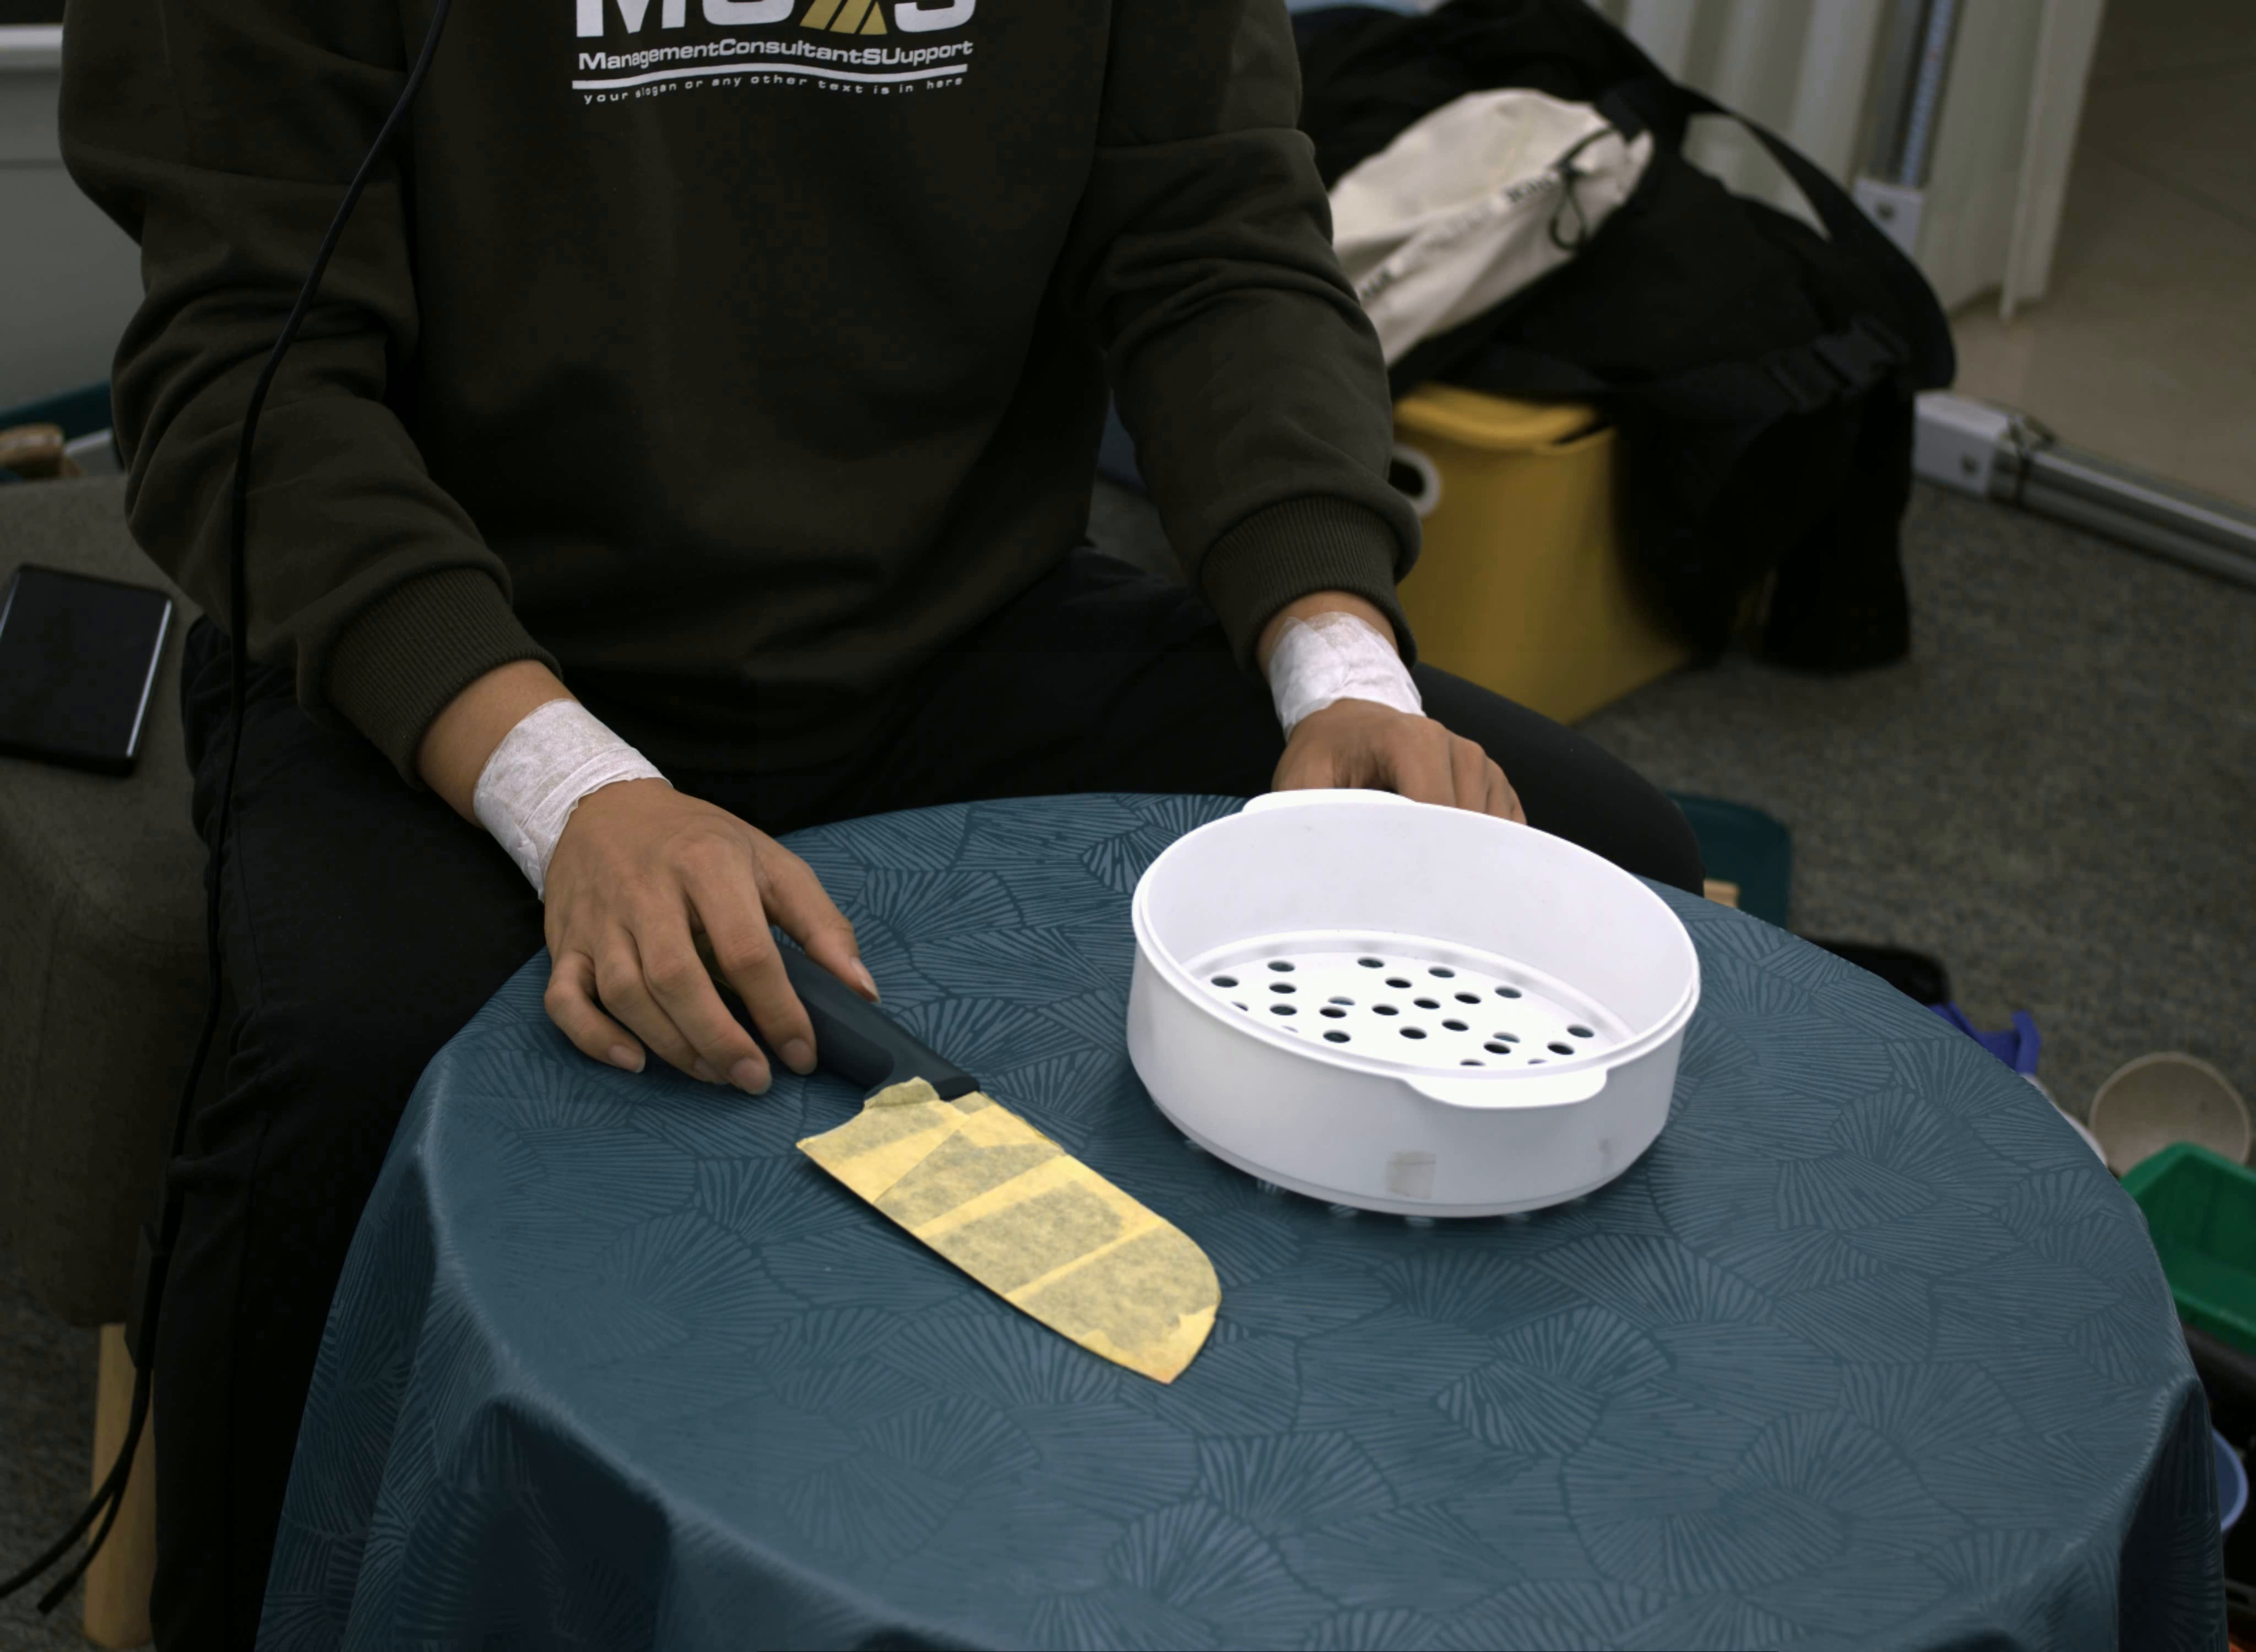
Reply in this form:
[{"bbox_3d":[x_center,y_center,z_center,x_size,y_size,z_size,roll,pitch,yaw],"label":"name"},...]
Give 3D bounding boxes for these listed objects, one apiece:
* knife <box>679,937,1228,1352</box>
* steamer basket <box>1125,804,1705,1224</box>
[{"bbox_3d":[-0.069,0.108,1.805,0.080,0.027,0.292,-19,36,-36],"label":"knife"},{"bbox_3d":[0.098,0.067,1.866,0.200,0.069,0.232,-1,26,-16],"label":"steamer basket"}]
